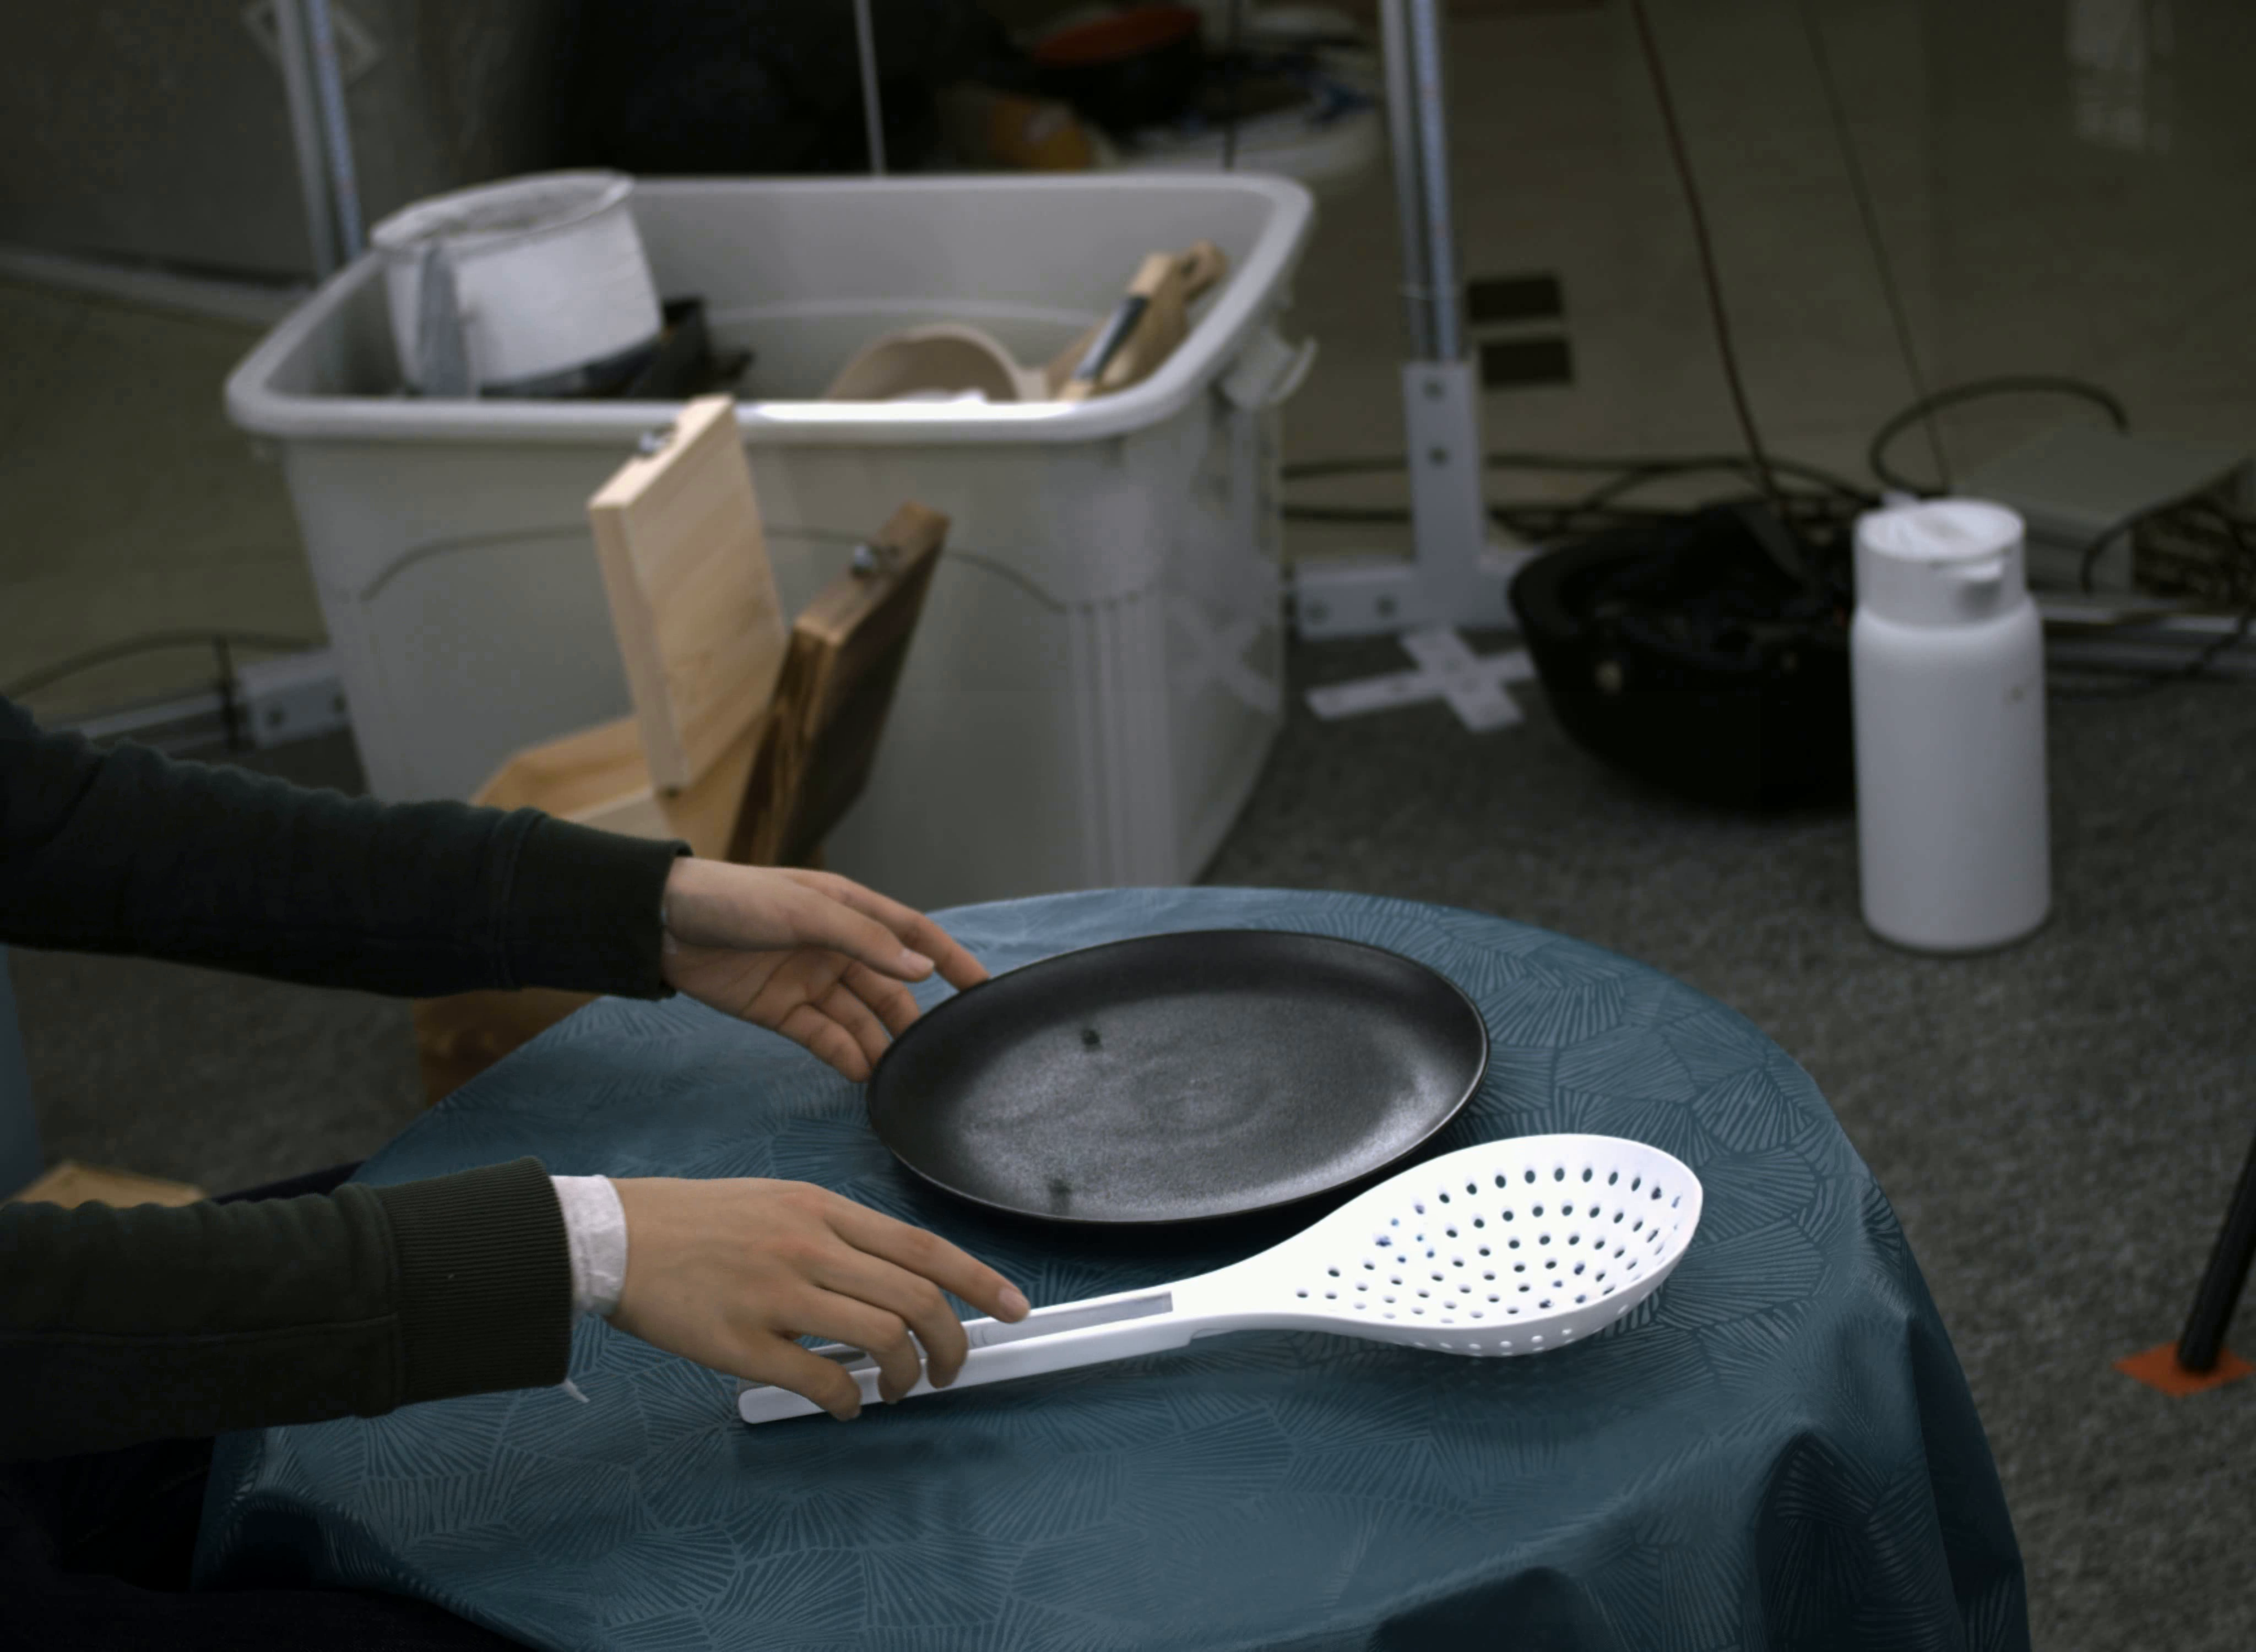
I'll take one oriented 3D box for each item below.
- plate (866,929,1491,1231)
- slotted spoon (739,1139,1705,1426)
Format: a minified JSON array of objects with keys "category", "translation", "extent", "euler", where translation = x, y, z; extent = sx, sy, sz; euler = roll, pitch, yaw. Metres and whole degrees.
[{"category":"plate","translation":[0.020,0.103,2.197],"extent":[0.244,0.024,0.241],"euler":[-5,25,3]},{"category":"slotted spoon","translation":[0.033,0.171,2.022],"extent":[0.349,0.046,0.134],"euler":[-7,23,1]}]
